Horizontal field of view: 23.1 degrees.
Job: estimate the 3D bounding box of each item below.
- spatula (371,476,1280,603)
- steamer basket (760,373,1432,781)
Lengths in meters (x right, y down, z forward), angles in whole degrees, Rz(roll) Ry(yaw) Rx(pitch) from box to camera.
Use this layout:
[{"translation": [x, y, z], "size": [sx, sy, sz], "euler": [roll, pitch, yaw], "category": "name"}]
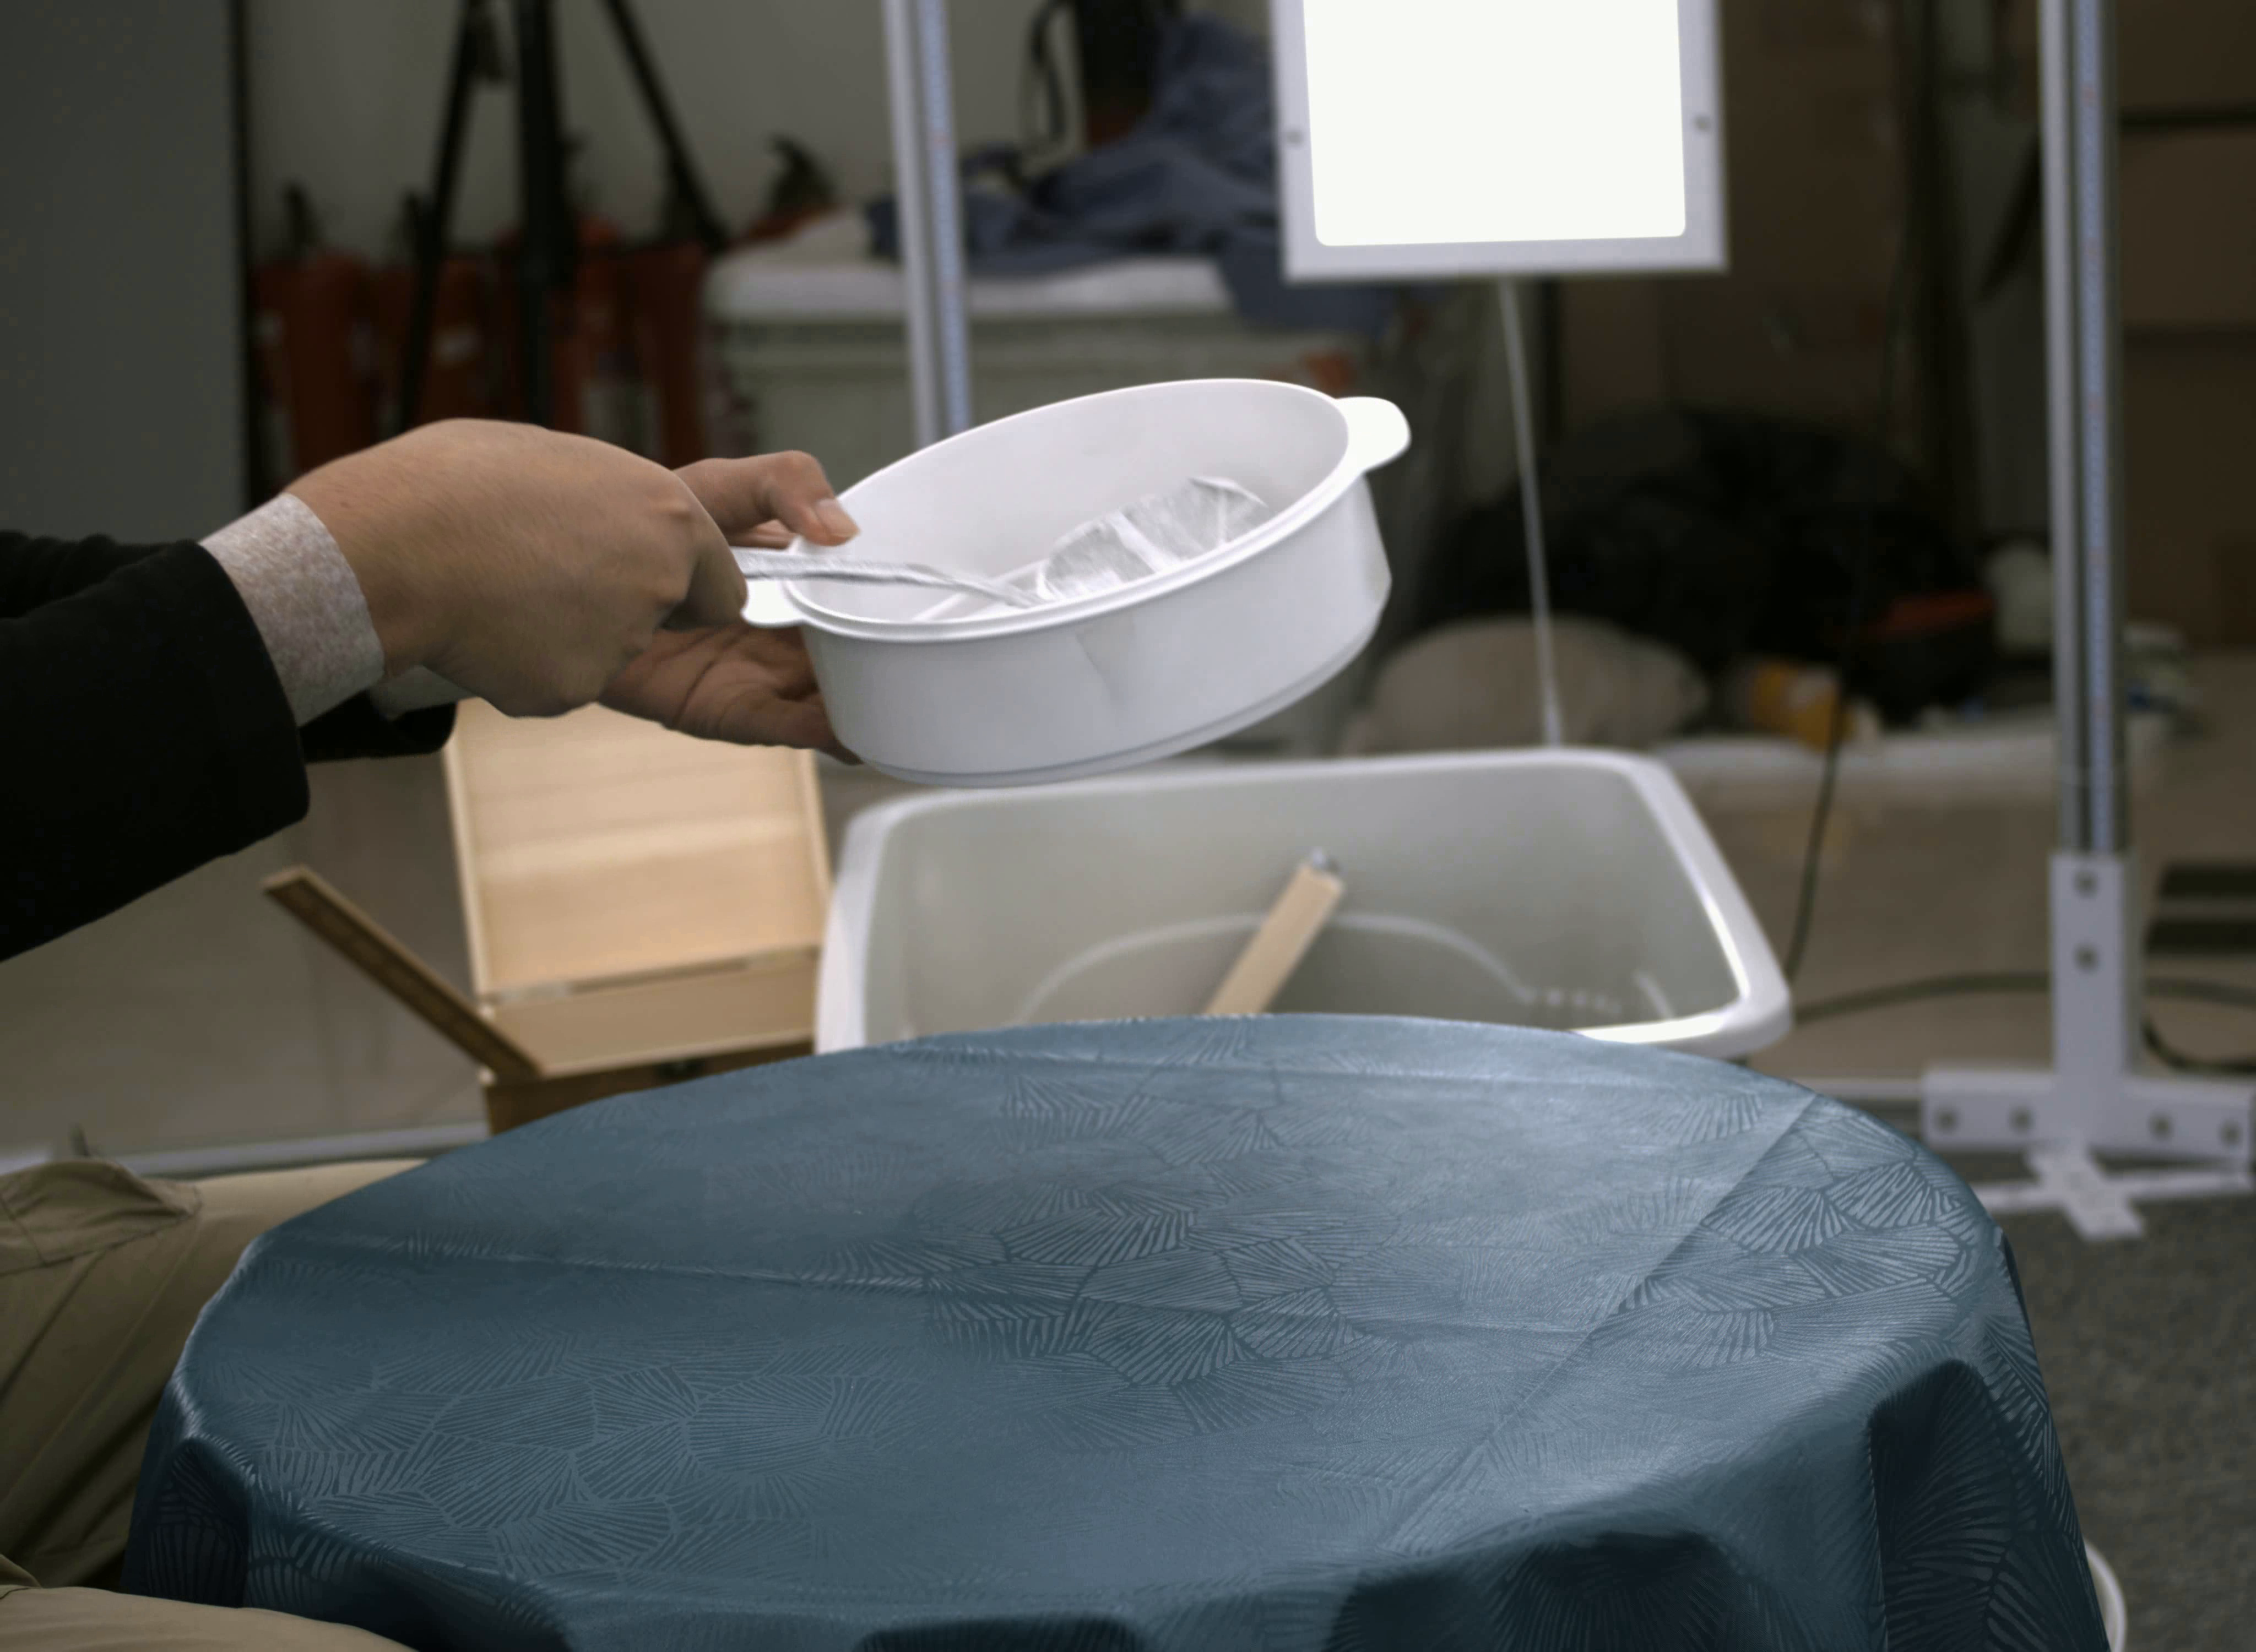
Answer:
[{"translation": [-0.076, -0.082, 1.741], "size": [0.355, 0.045, 0.100], "euler": [1, 29, -40], "category": "spatula"}, {"translation": [-0.004, -0.082, 1.828], "size": [0.231, 0.069, 0.201], "euler": [-15, 22, 4], "category": "steamer basket"}]
